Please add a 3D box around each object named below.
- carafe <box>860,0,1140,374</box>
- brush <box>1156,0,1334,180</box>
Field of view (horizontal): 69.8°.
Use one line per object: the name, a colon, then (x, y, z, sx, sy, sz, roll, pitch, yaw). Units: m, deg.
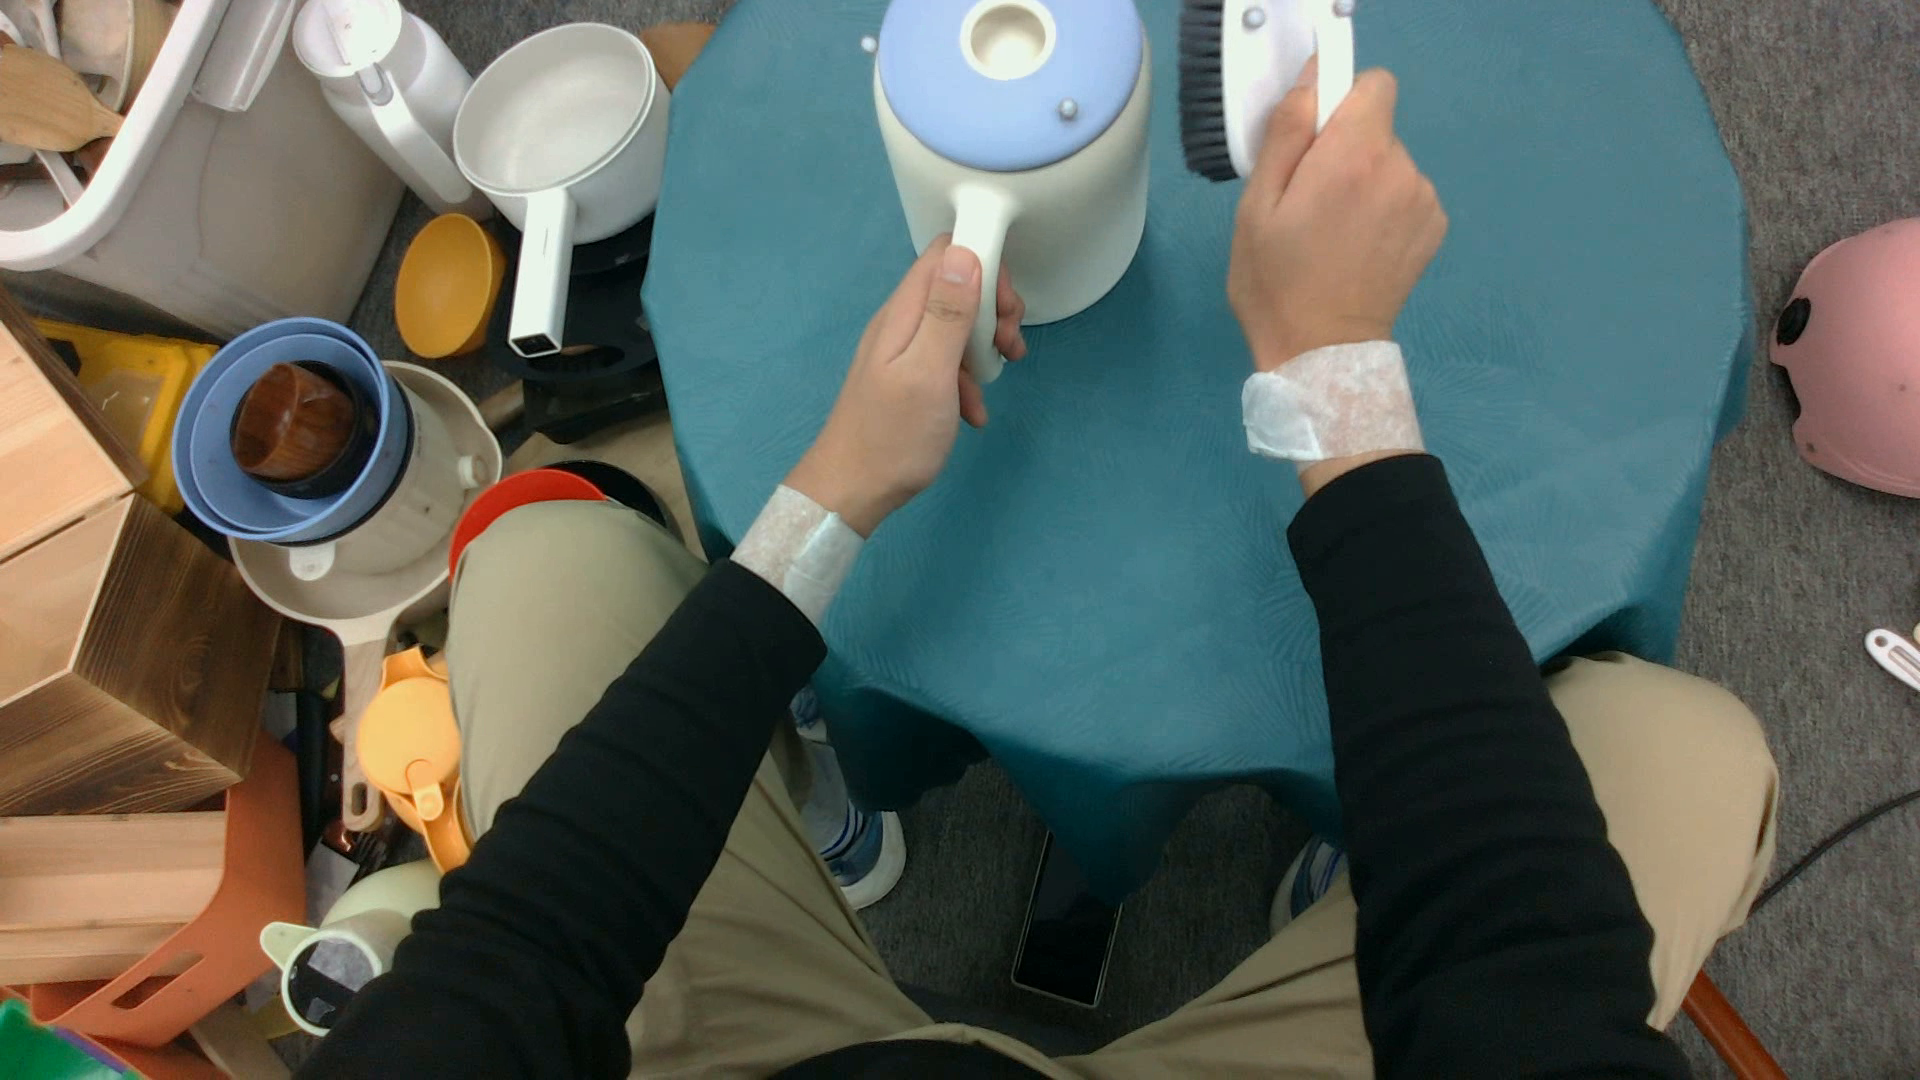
carafe: (0.018, -0.181, 0.689, 0.132, 0.182, 0.191, 8, 79, 7)
brush: (0.129, -0.206, 0.598, 0.050, 0.072, 0.099, -20, 116, -33)
